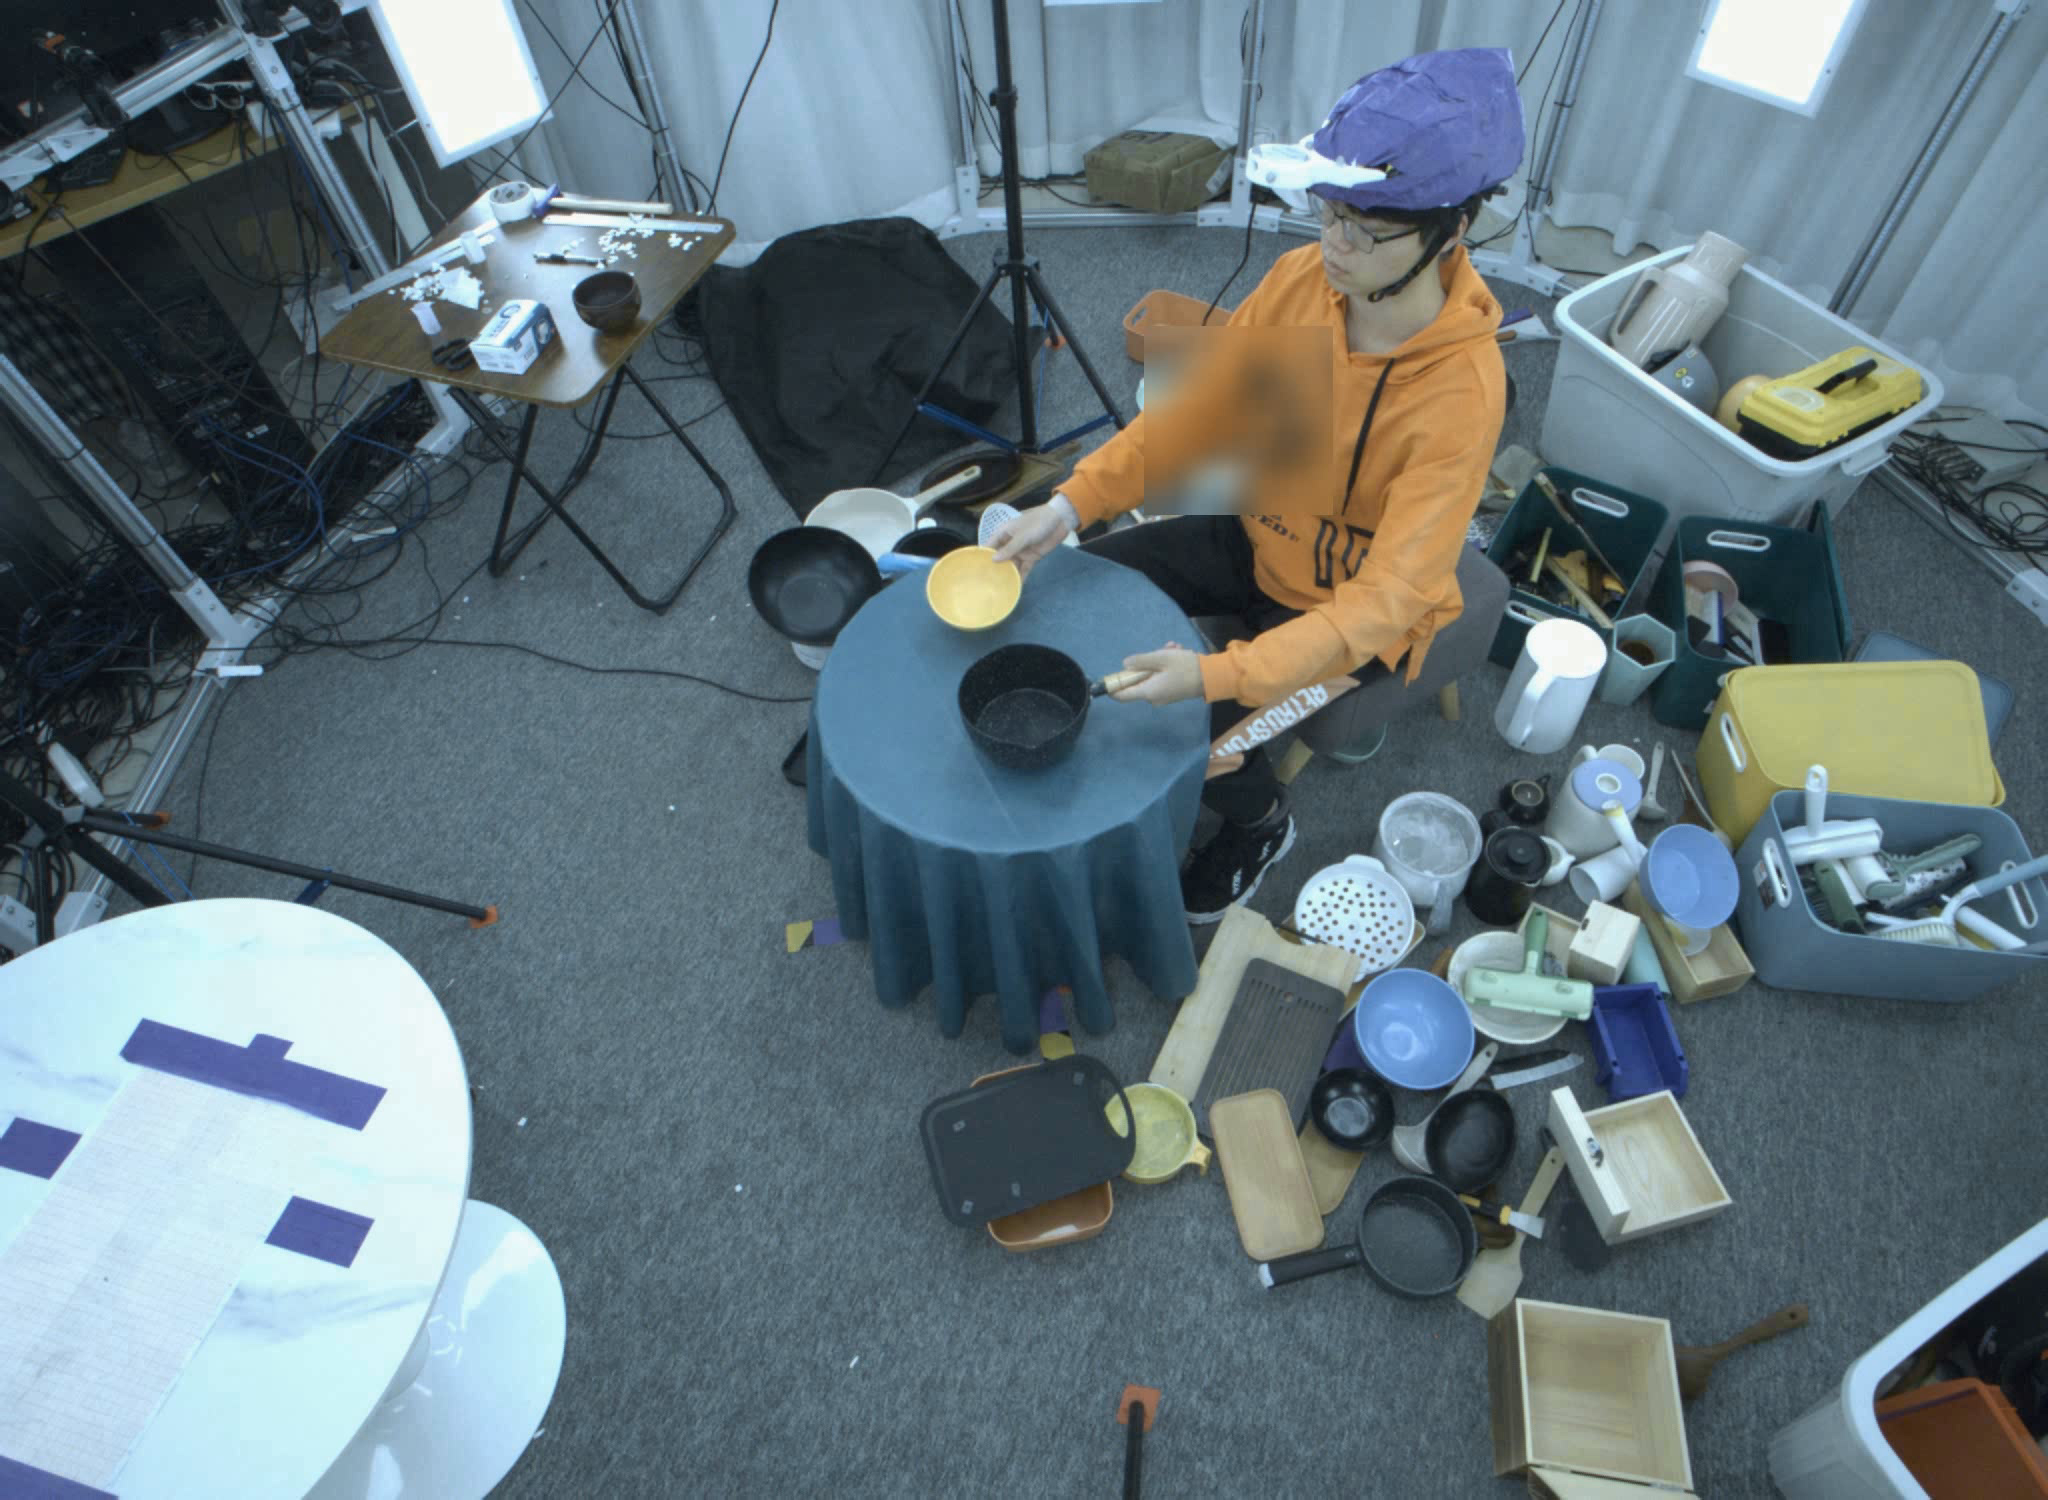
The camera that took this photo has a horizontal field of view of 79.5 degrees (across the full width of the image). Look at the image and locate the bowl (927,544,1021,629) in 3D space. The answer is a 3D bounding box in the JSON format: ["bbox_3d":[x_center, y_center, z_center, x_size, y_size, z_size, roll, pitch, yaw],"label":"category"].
[{"bbox_3d":[-0.076,-0.241,1.889,0.145,0.060,0.144,1,68,-1],"label":"bowl"}]

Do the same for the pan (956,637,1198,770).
[{"bbox_3d":[0.078,-0.078,1.748,0.344,0.109,0.204,-11,52,-4],"label":"pan"}]
